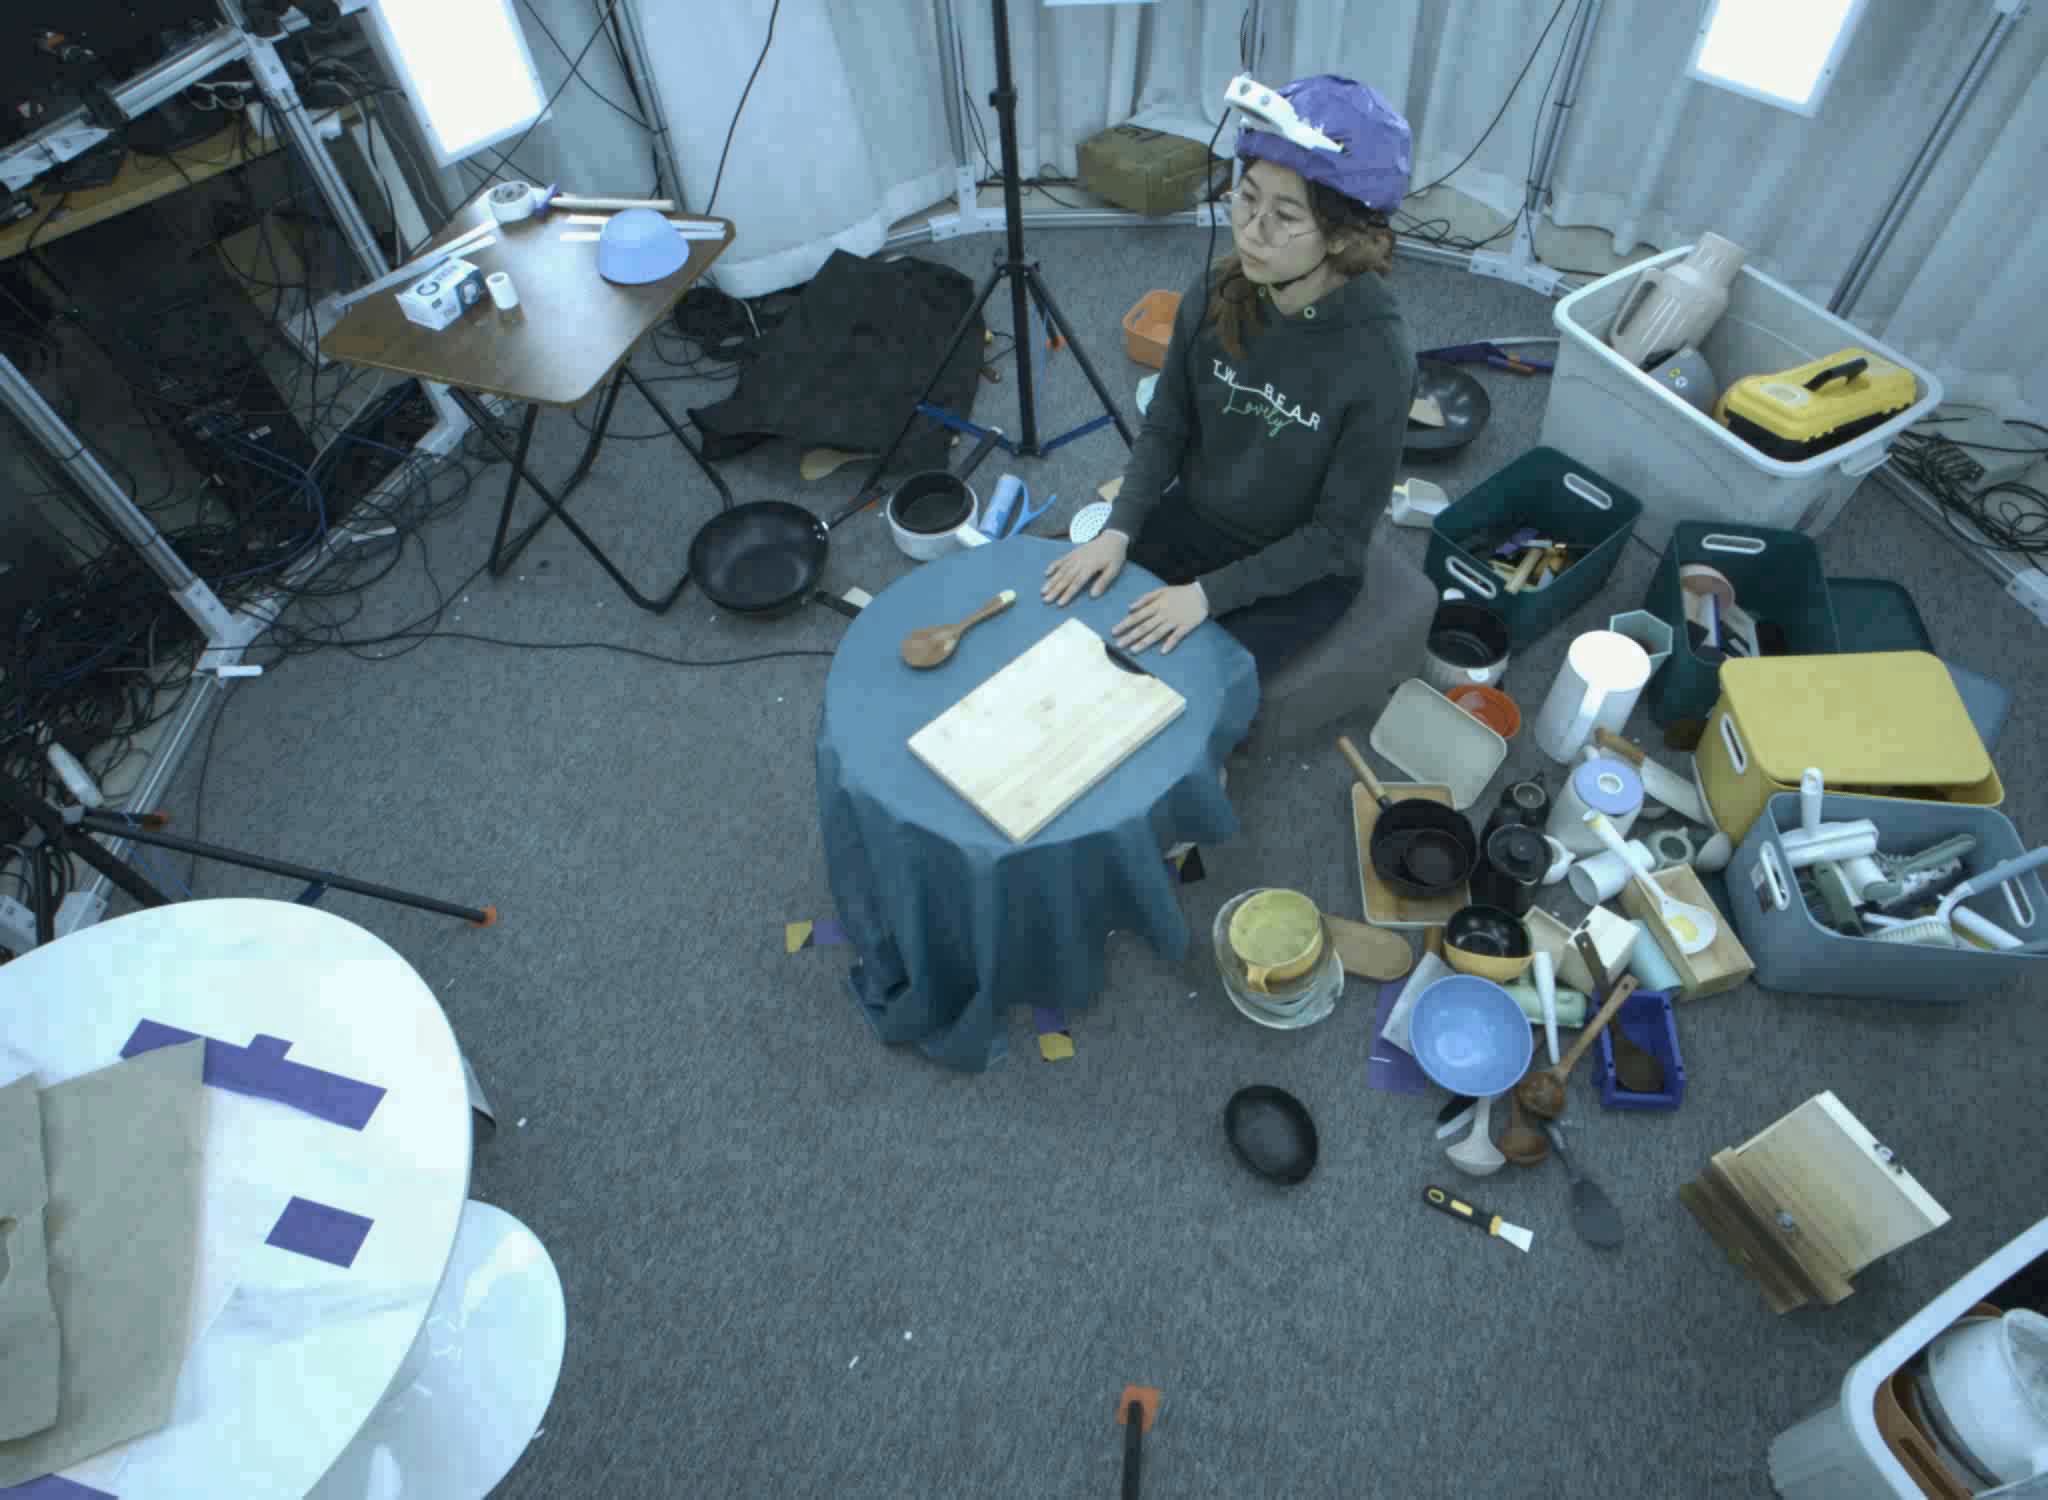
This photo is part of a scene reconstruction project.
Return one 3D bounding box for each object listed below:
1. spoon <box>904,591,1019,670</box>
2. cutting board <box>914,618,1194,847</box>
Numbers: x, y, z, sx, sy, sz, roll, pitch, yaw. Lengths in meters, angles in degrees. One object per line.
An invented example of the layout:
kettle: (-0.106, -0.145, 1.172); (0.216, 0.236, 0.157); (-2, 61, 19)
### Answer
spoon: (-0.095, -0.188, 1.921); (0.217, 0.017, 0.074); (-36, 60, -21)
cutting board: (0.043, -0.036, 1.812); (0.351, 0.024, 0.246); (-39, 63, -23)
